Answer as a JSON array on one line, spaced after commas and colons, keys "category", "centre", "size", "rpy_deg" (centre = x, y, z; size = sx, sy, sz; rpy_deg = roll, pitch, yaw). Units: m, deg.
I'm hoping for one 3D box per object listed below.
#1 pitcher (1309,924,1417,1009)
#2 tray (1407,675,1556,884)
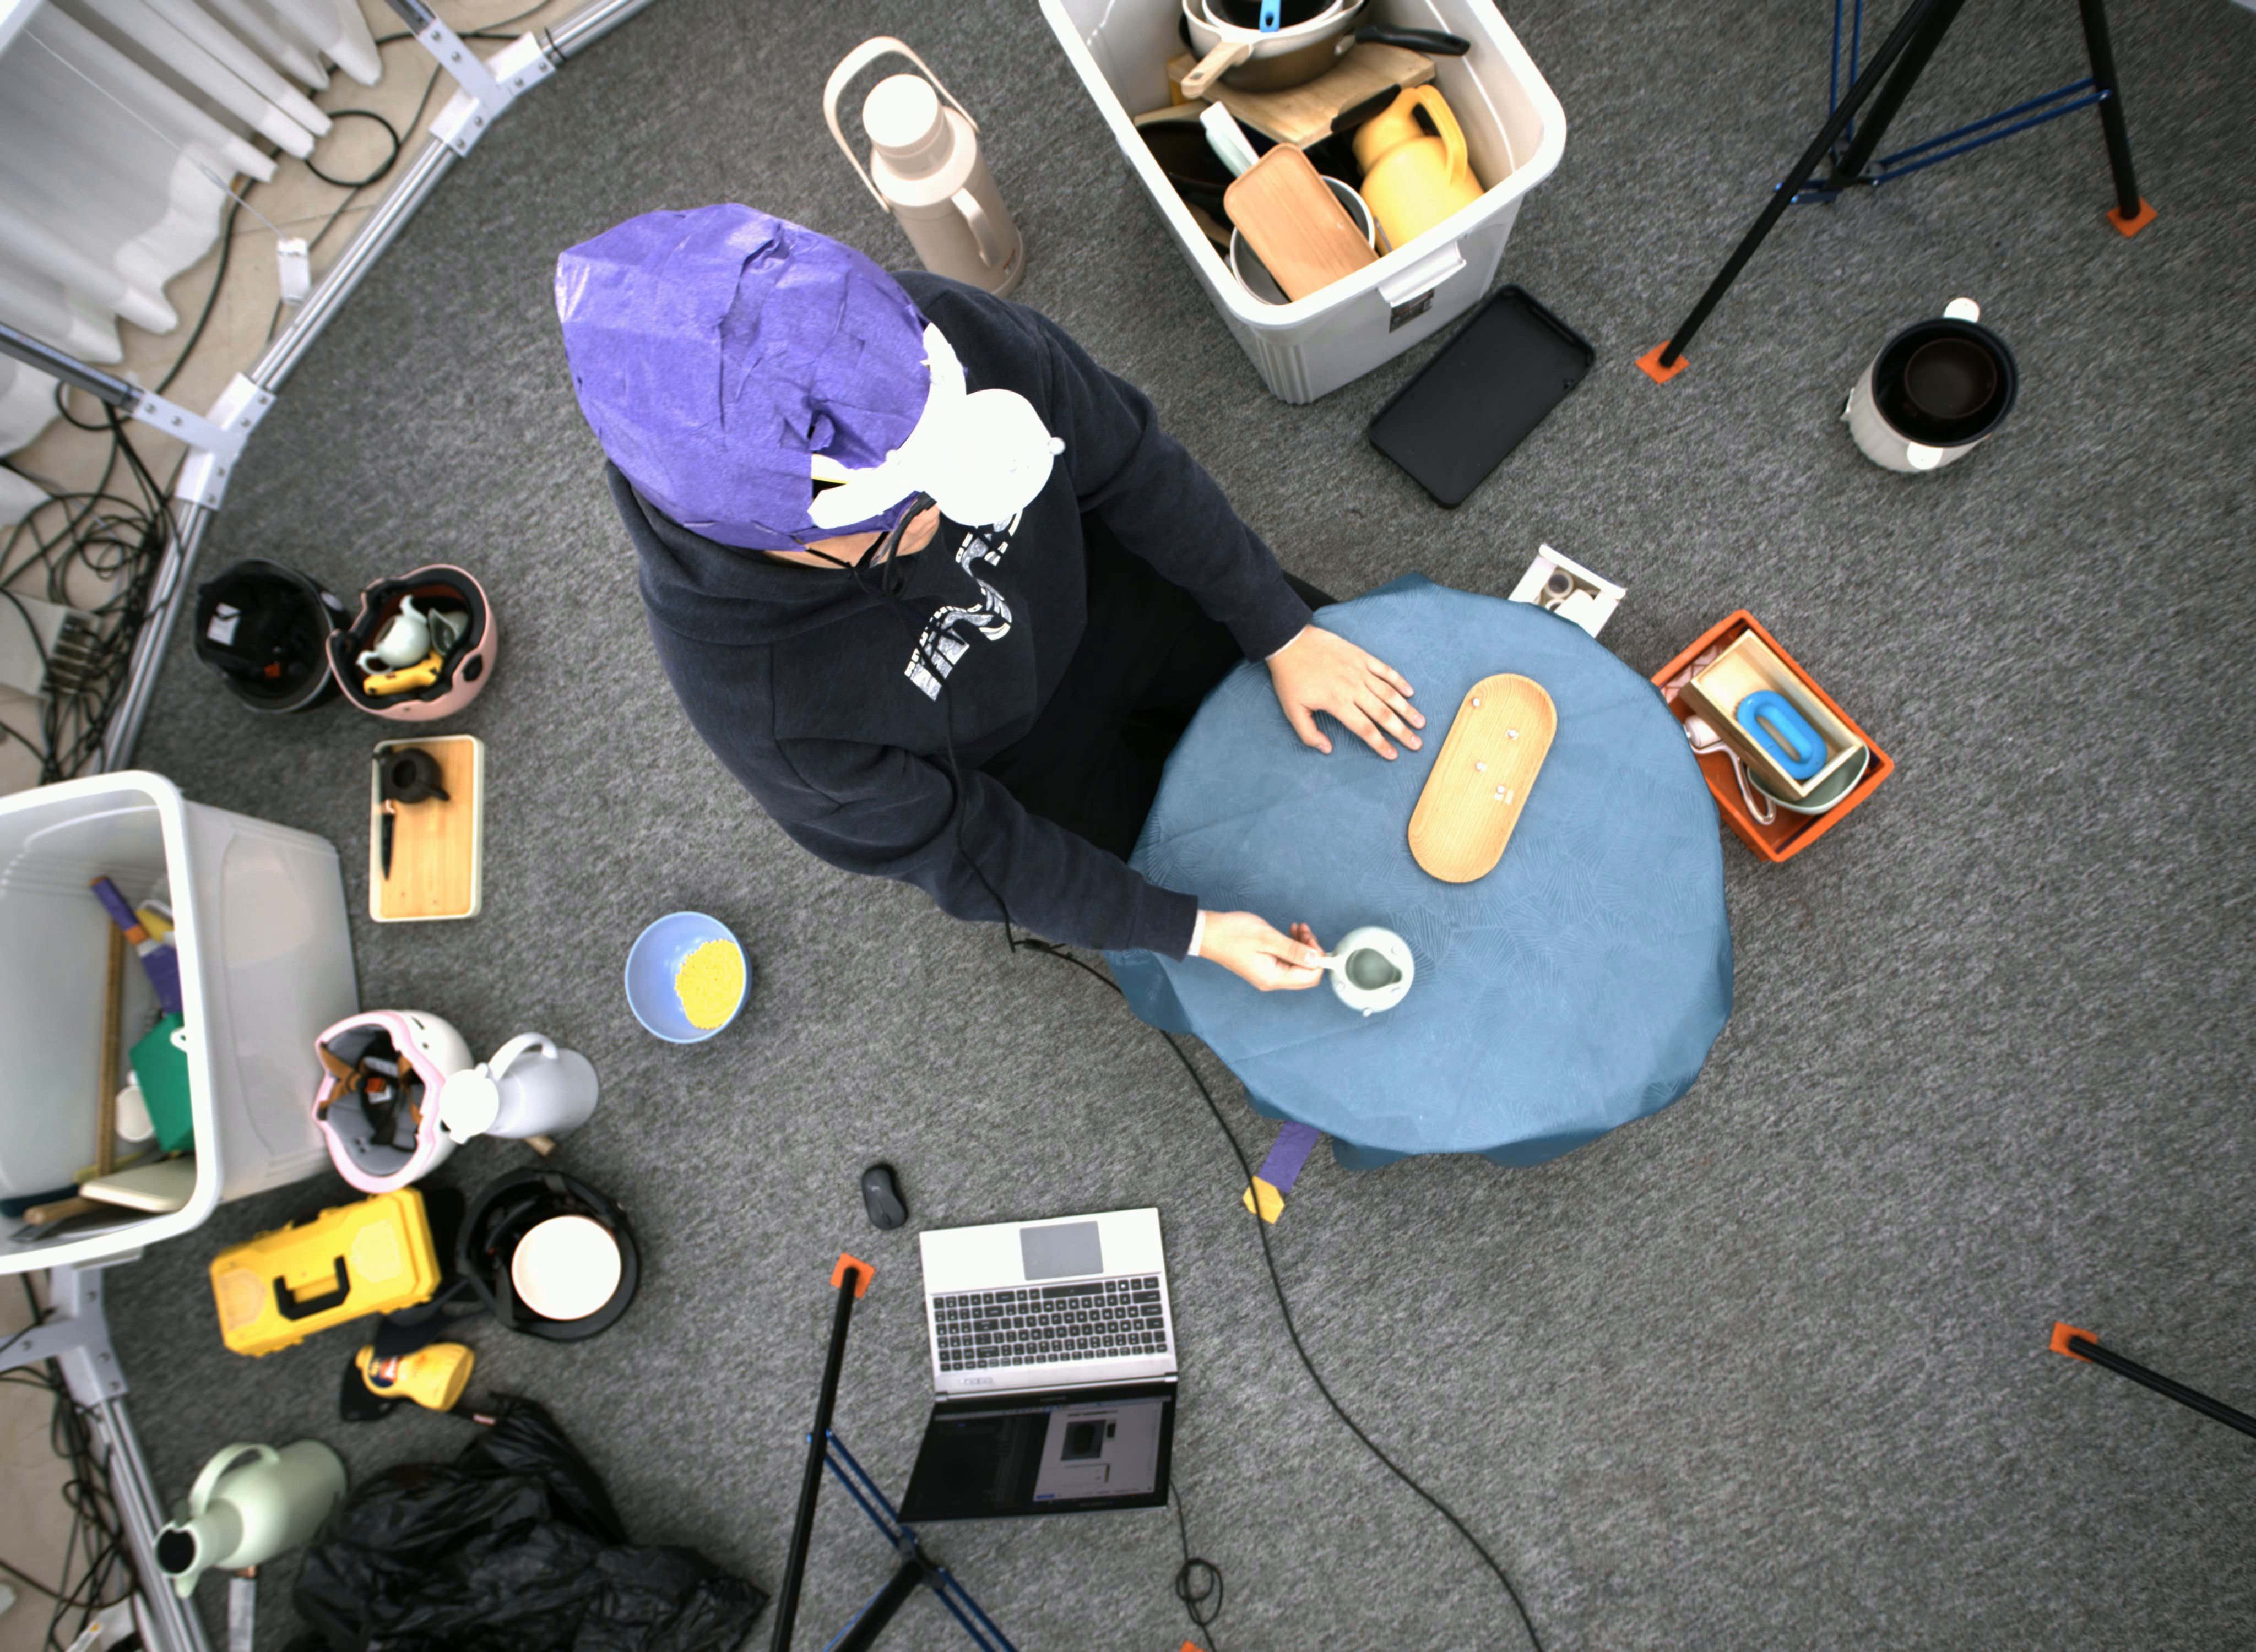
[{"category": "pitcher", "centre": [0.236, 0.139, 1.396], "size": [0.108, 0.060, 0.086], "rpy_deg": [6, 87, 20]}, {"category": "tray", "centre": [0.370, -0.051, 1.441], "size": [0.101, 0.020, 0.231], "rpy_deg": [24, 93, 13]}]
